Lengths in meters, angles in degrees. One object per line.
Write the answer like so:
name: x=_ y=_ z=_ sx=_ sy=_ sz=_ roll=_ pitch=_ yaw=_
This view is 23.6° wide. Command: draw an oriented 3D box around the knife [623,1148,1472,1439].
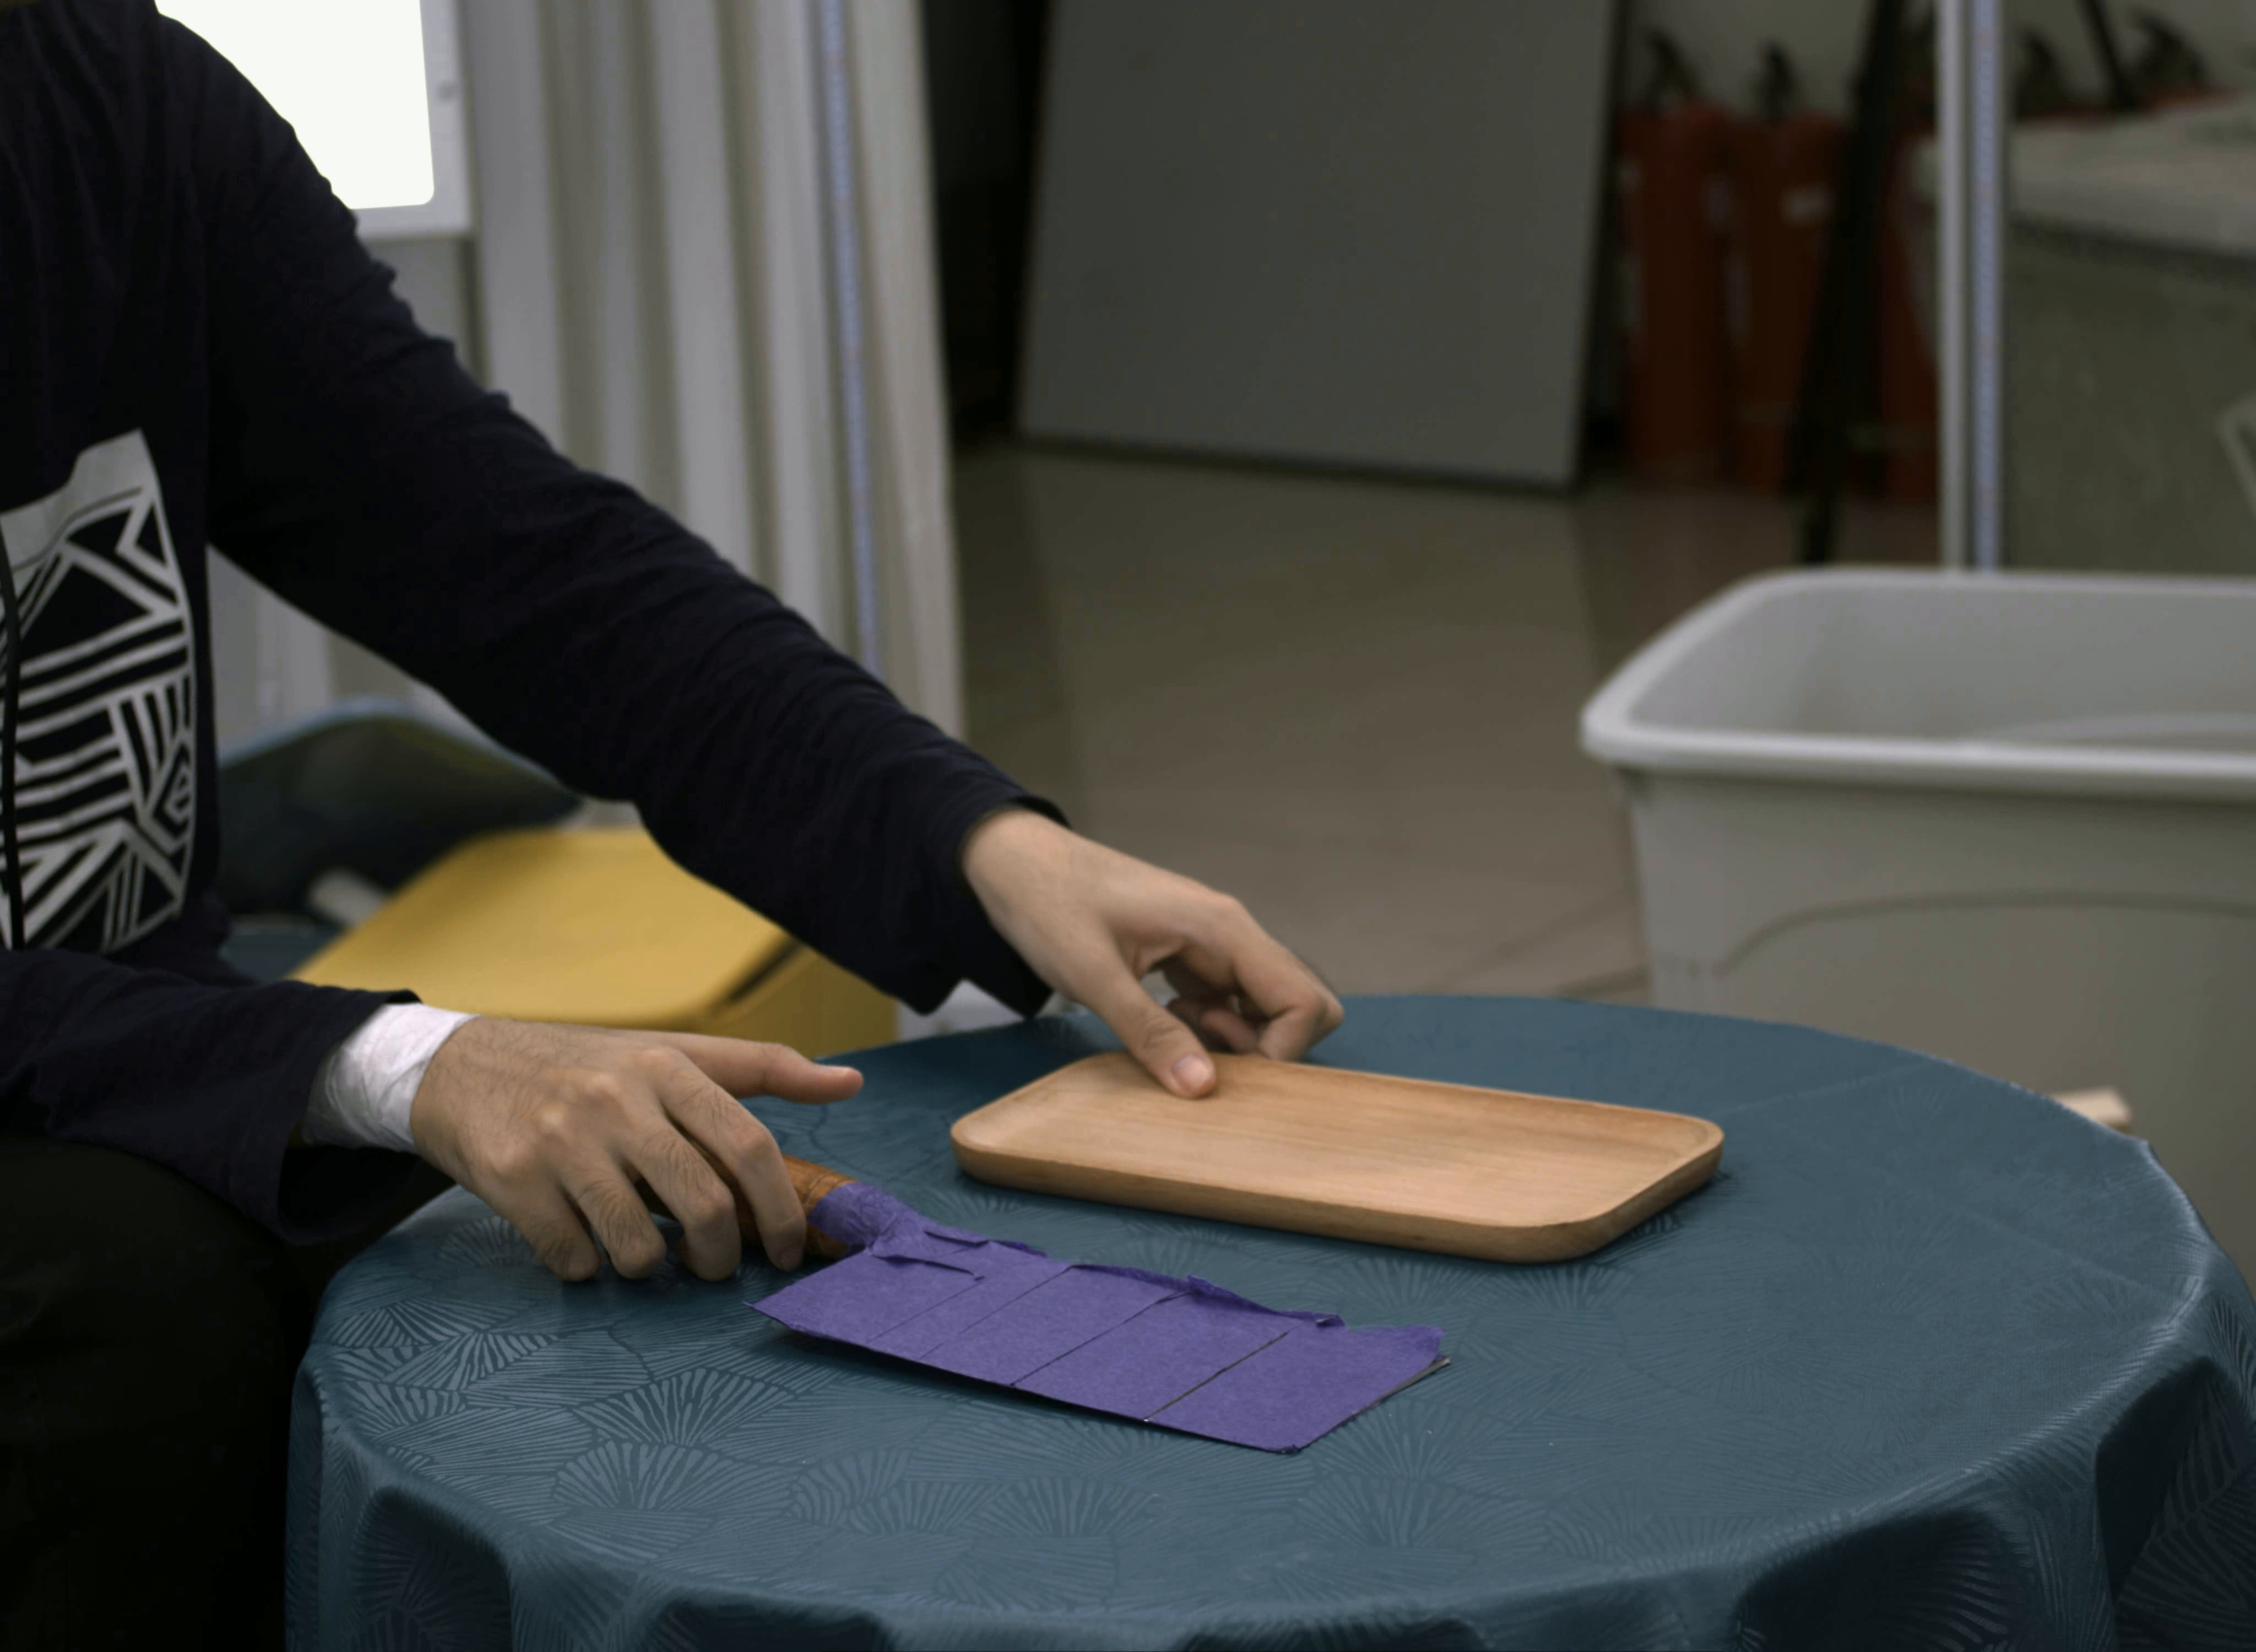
knife: x=-0.049 y=0.141 z=1.650 sx=0.317 sy=0.032 sz=0.102 roll=7 pitch=17 yaw=37

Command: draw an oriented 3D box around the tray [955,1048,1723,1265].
tray: x=0.068 y=0.108 z=1.777 sx=0.252 sy=0.023 sz=0.128 roll=5 pitch=14 yaw=37
